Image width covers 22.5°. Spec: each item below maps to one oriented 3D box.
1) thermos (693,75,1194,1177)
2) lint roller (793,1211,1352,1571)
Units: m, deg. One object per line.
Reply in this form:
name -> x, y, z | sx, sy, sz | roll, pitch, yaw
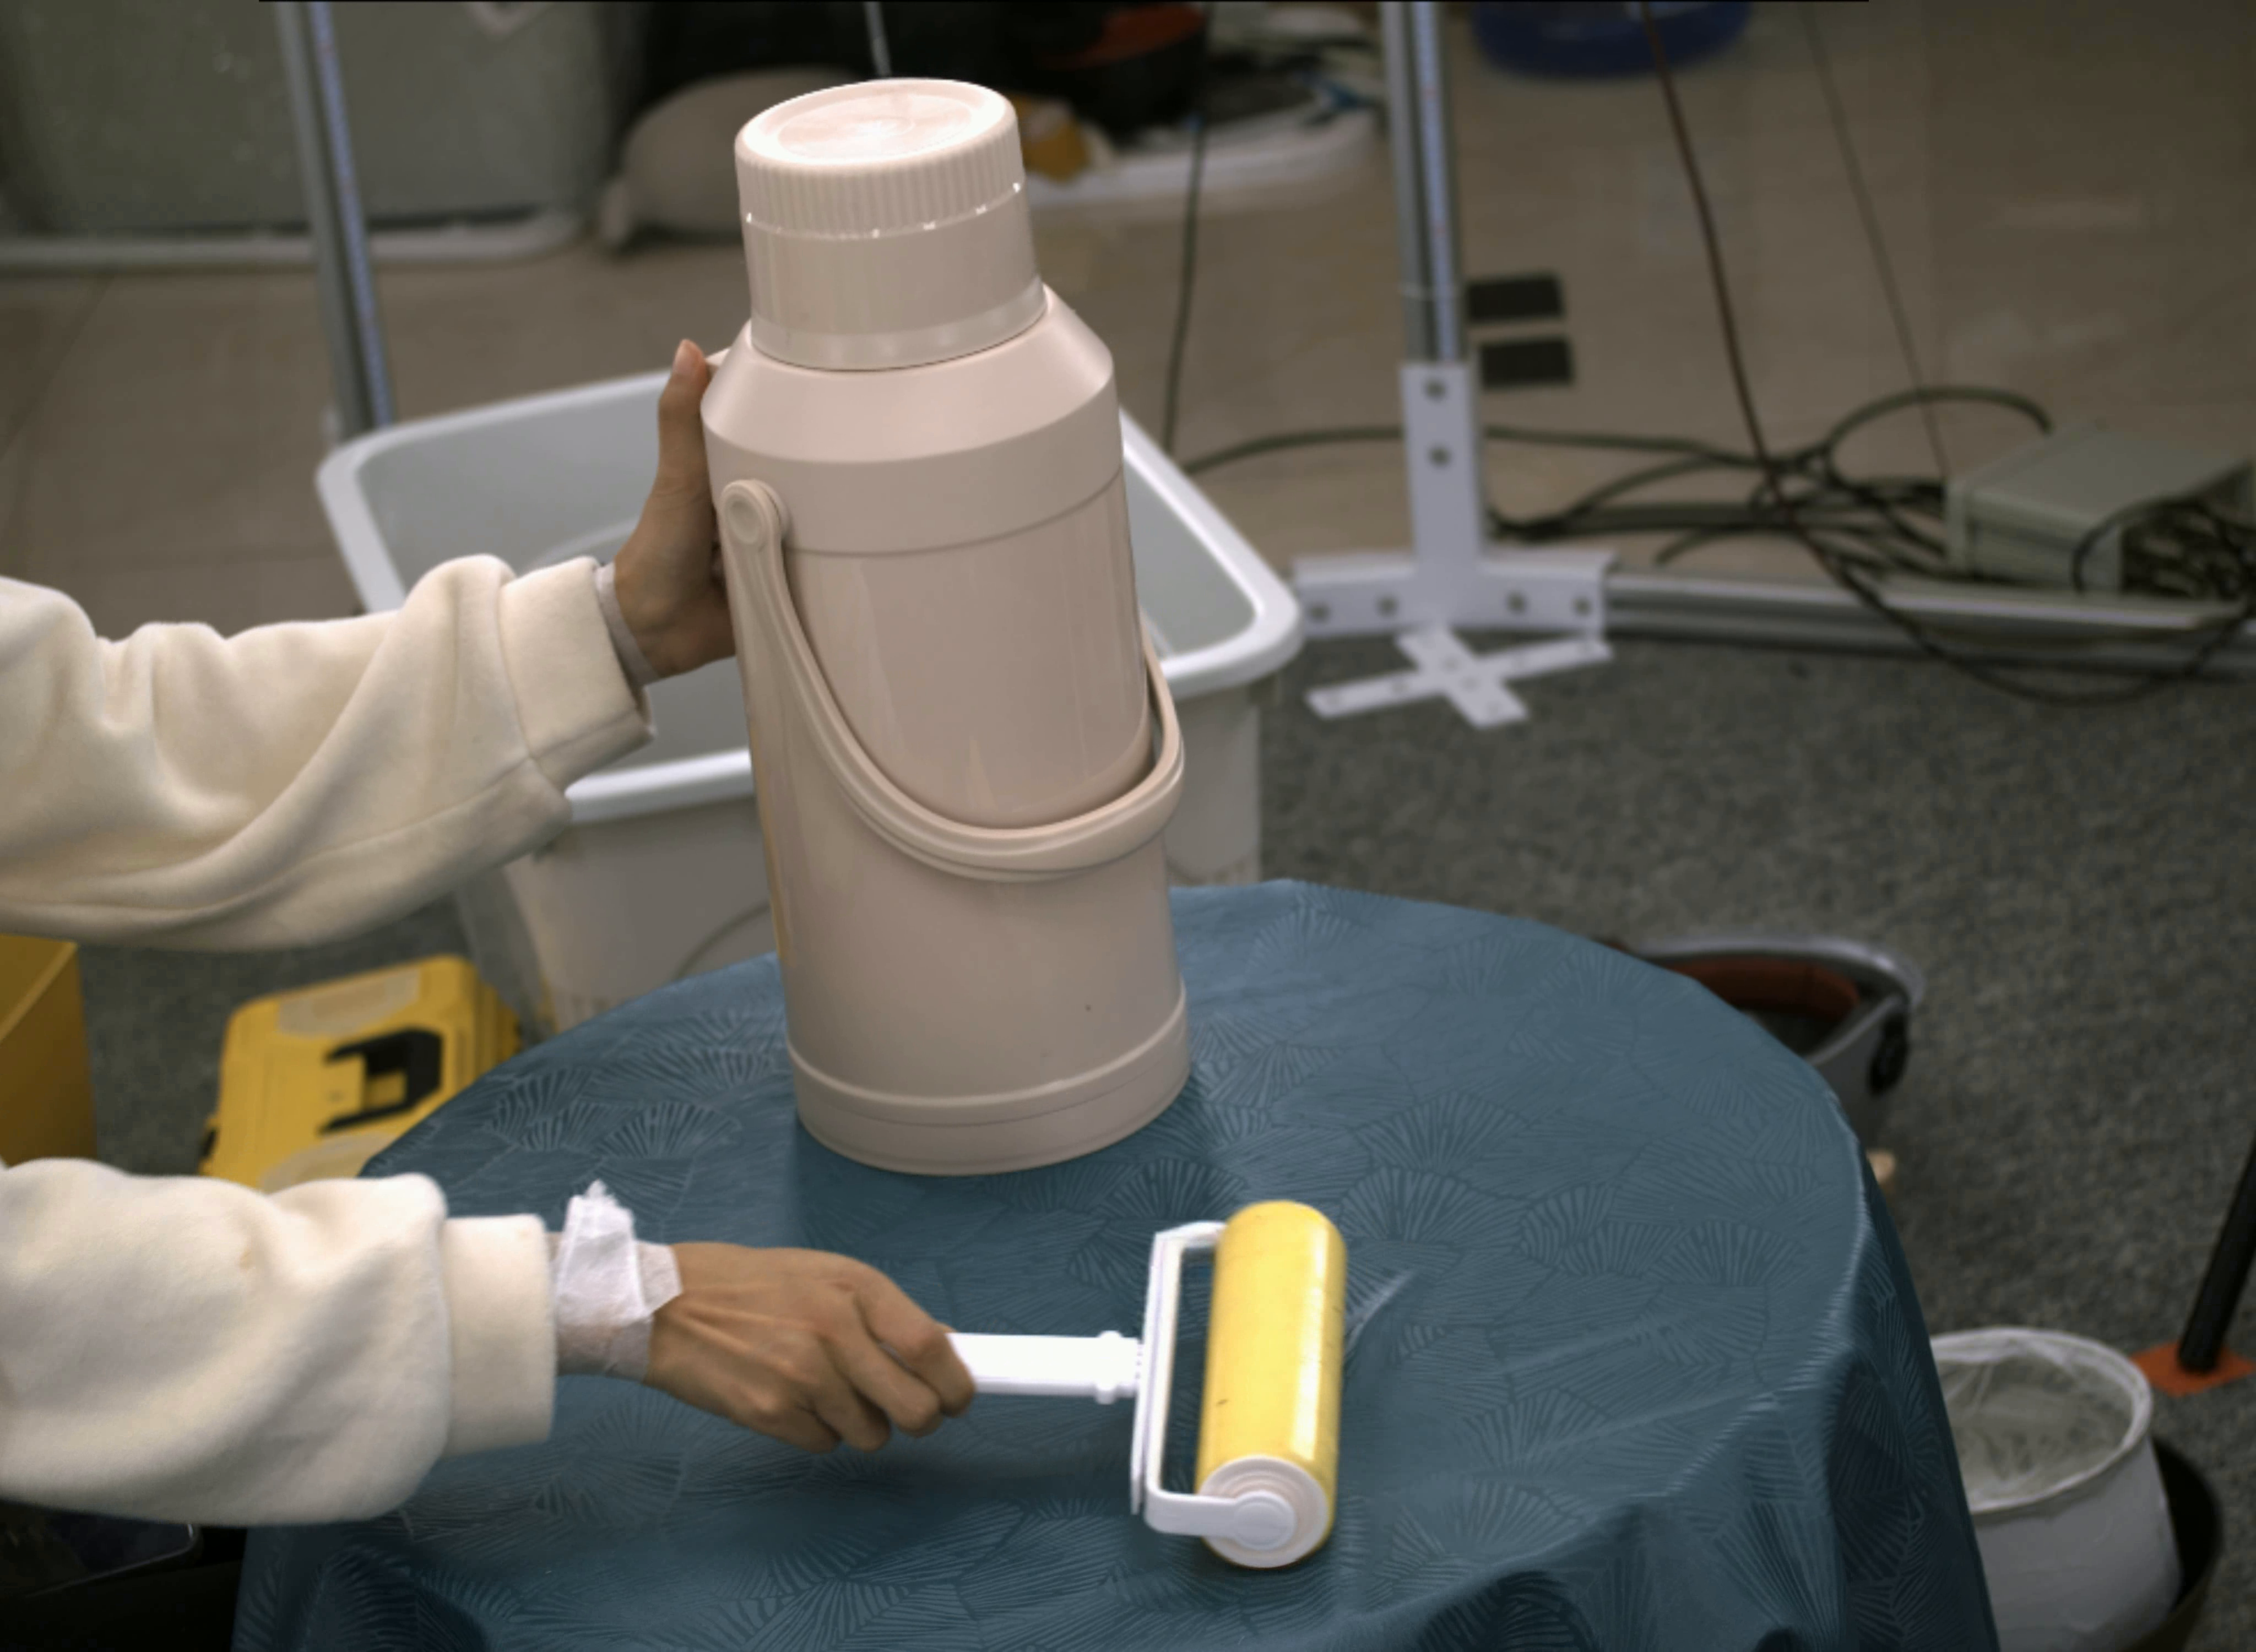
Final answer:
thermos -> -0.081, -0.081, 2.162 | 0.205, 0.413, 0.174 | 18, 36, 41
lint roller -> -0.018, 0.178, 1.955 | 0.192, 0.052, 0.171 | 14, 28, -4
